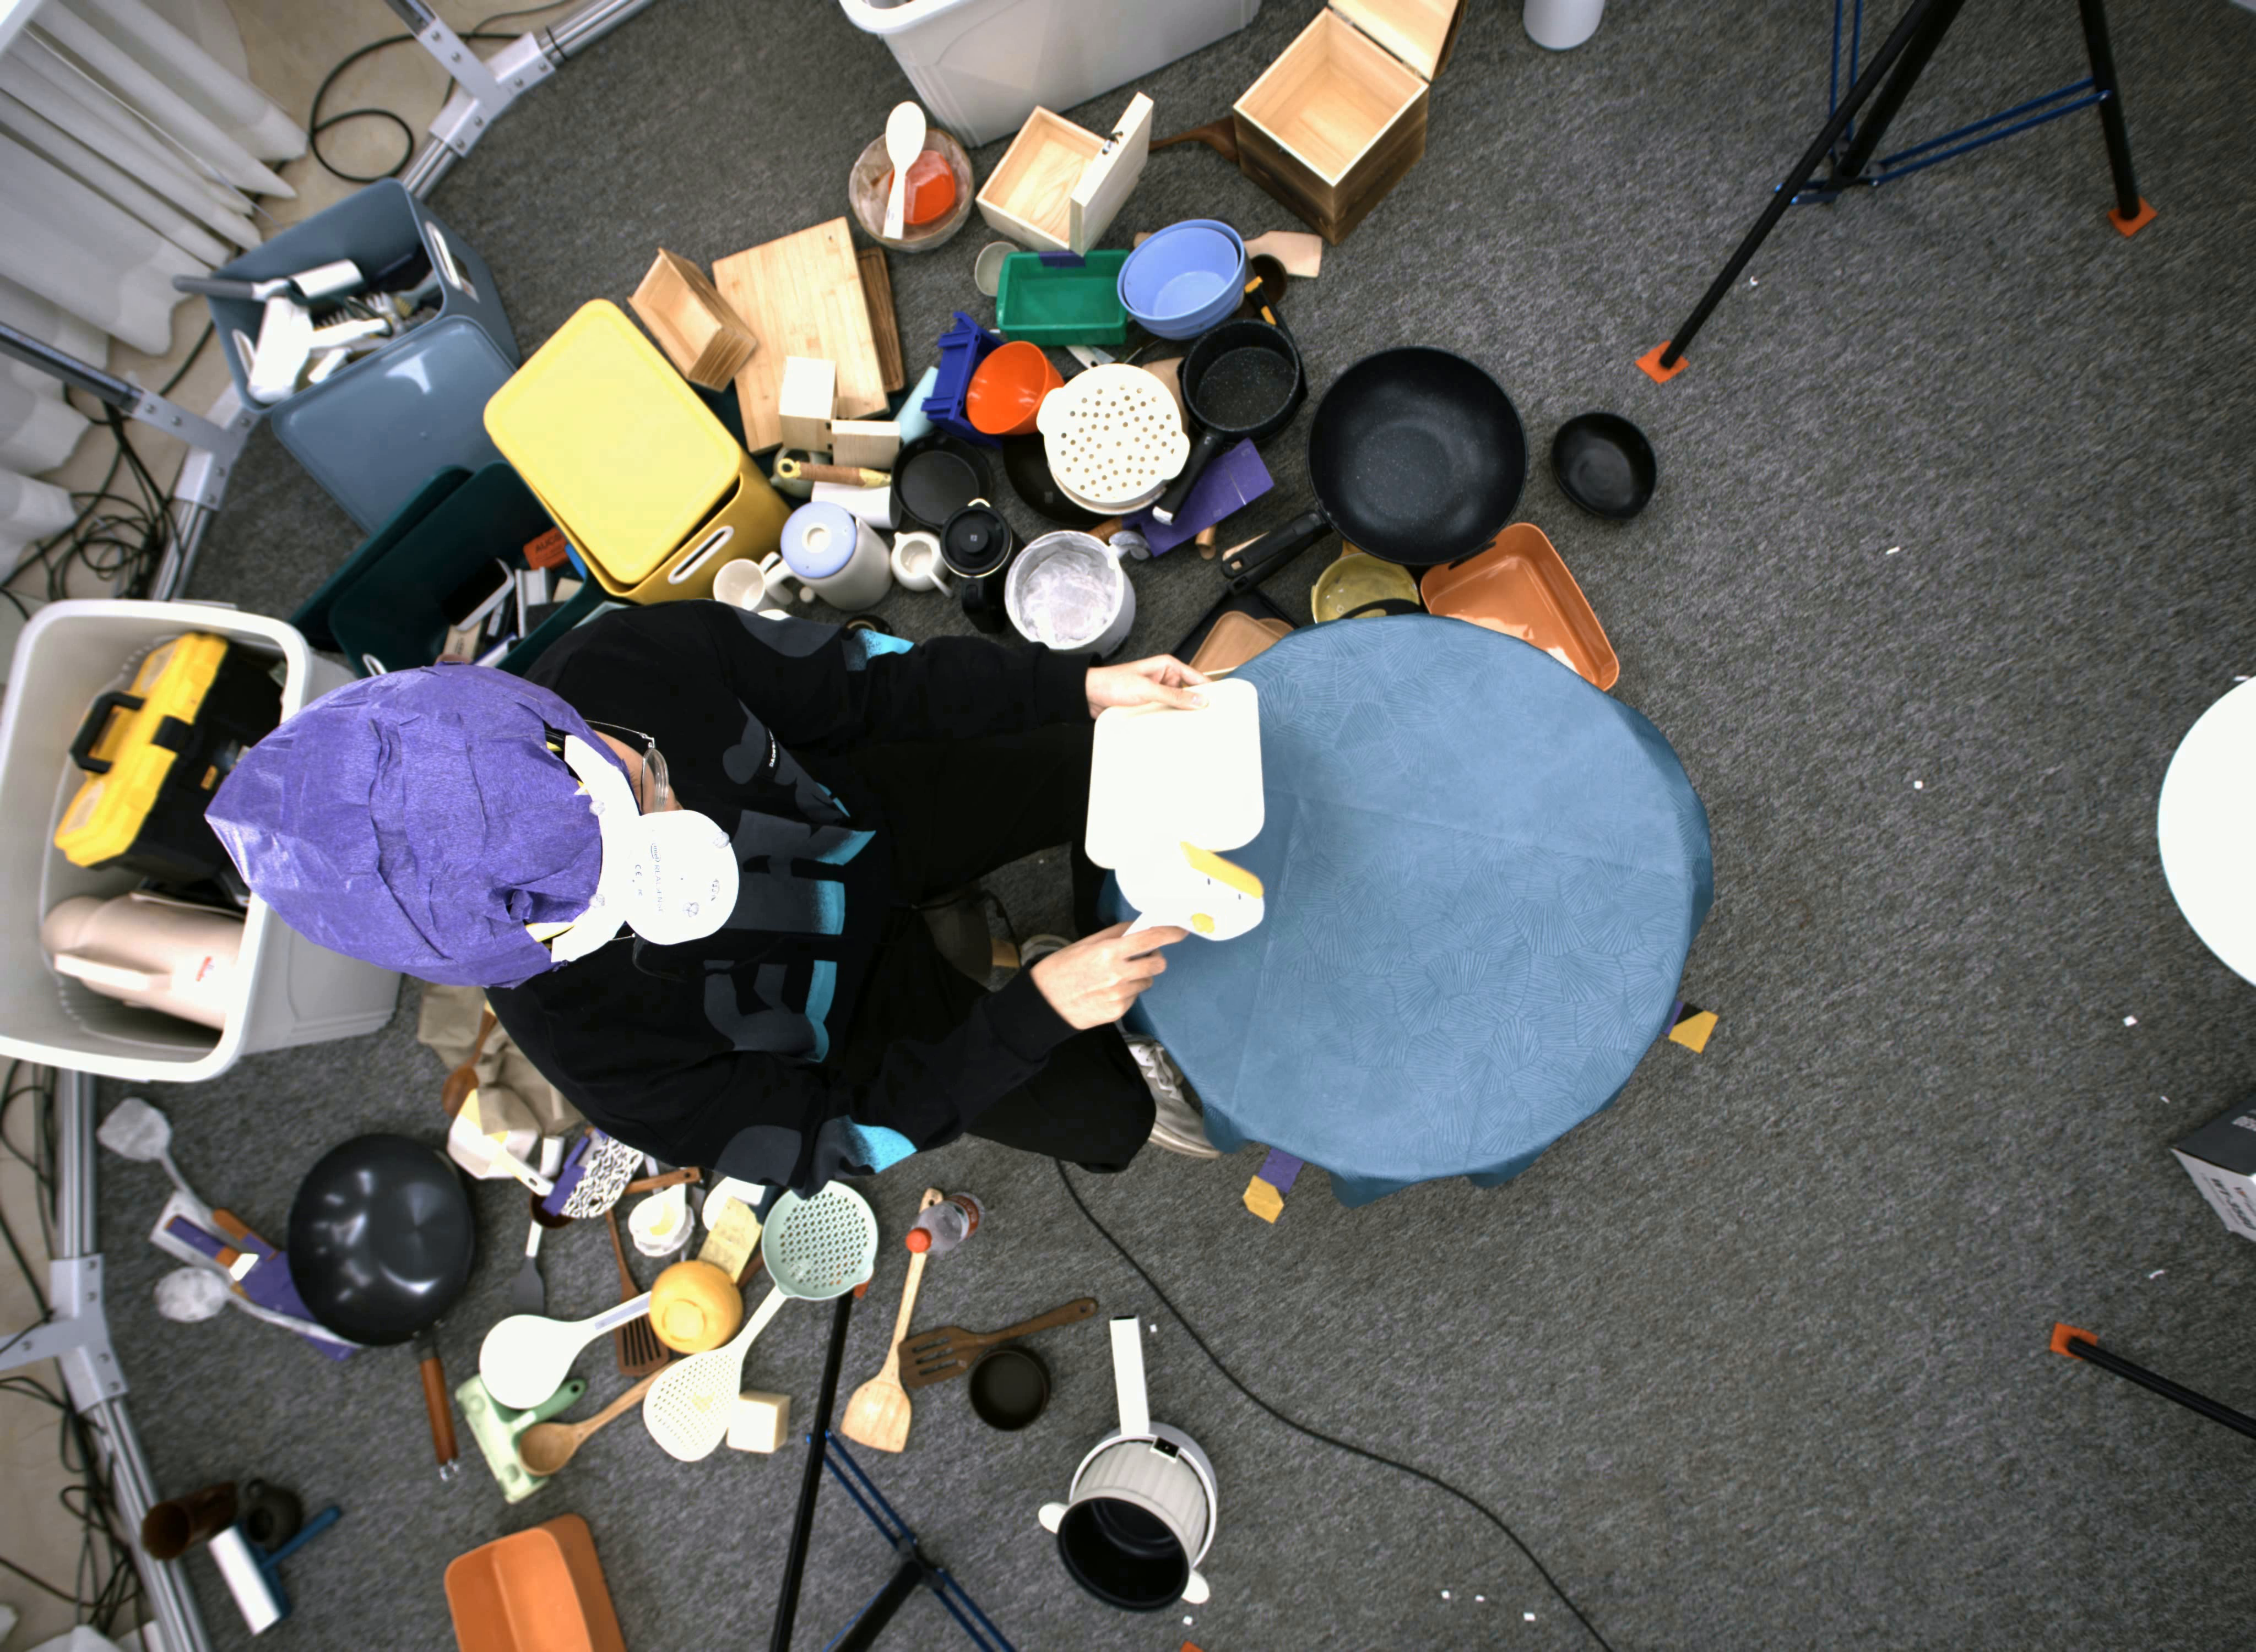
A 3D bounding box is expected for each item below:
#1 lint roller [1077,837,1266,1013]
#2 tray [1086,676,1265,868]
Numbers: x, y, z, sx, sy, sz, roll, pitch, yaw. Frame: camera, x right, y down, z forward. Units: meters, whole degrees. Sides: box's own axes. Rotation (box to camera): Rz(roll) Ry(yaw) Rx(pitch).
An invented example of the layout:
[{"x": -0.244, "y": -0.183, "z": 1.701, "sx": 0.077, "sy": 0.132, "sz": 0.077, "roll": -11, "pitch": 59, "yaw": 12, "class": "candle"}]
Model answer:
[{"x": 0.019, "y": 0.095, "z": 1.267, "sx": 0.195, "sy": 0.193, "sz": 0.073, "roll": -39, "pitch": 62, "yaw": 23, "class": "lint roller"}, {"x": 0.046, "y": -0.054, "z": 1.330, "sx": 0.172, "sy": 0.018, "sz": 0.233, "roll": -12, "pitch": 43, "yaw": 14, "class": "tray"}]
